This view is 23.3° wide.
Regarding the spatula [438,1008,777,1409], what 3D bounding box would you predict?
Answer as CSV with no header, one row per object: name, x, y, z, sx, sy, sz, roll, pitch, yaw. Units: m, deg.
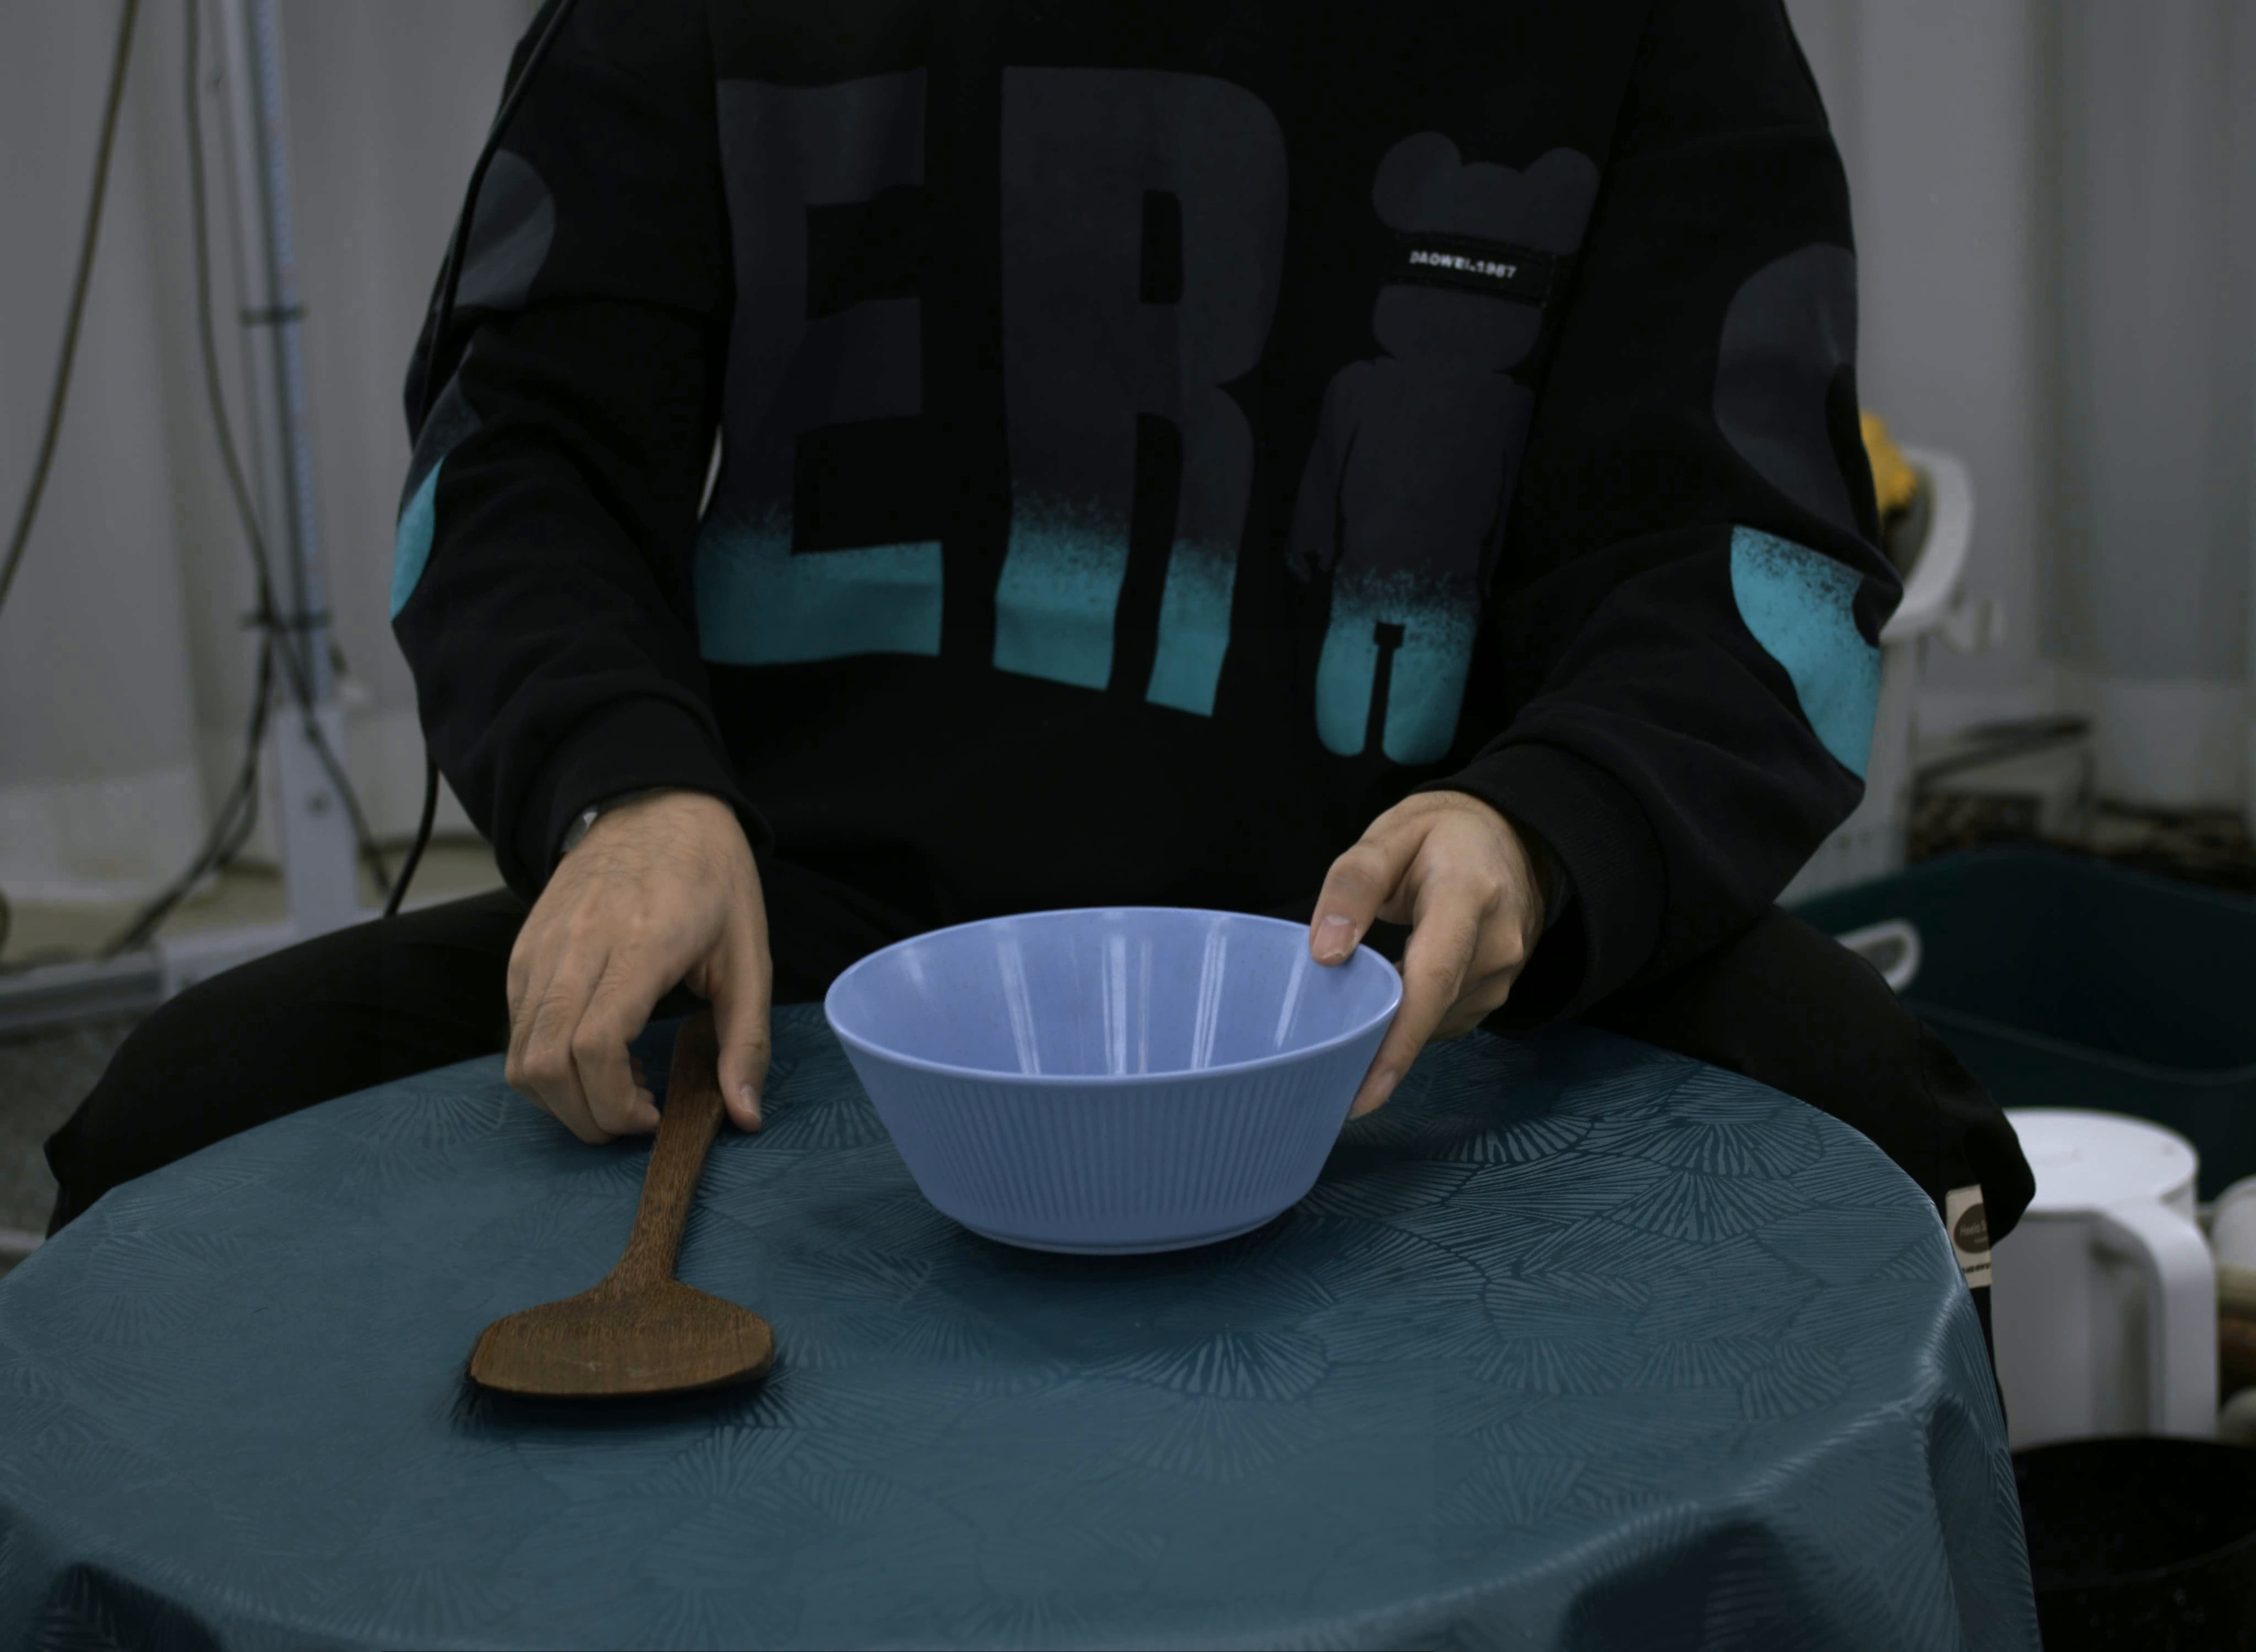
spatula,-0.144,0.114,1.718,0.096,0.016,0.388,-2,15,2

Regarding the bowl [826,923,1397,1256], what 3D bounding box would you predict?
bowl,-0.004,0.083,1.673,0.175,0.070,0.177,-2,14,0
